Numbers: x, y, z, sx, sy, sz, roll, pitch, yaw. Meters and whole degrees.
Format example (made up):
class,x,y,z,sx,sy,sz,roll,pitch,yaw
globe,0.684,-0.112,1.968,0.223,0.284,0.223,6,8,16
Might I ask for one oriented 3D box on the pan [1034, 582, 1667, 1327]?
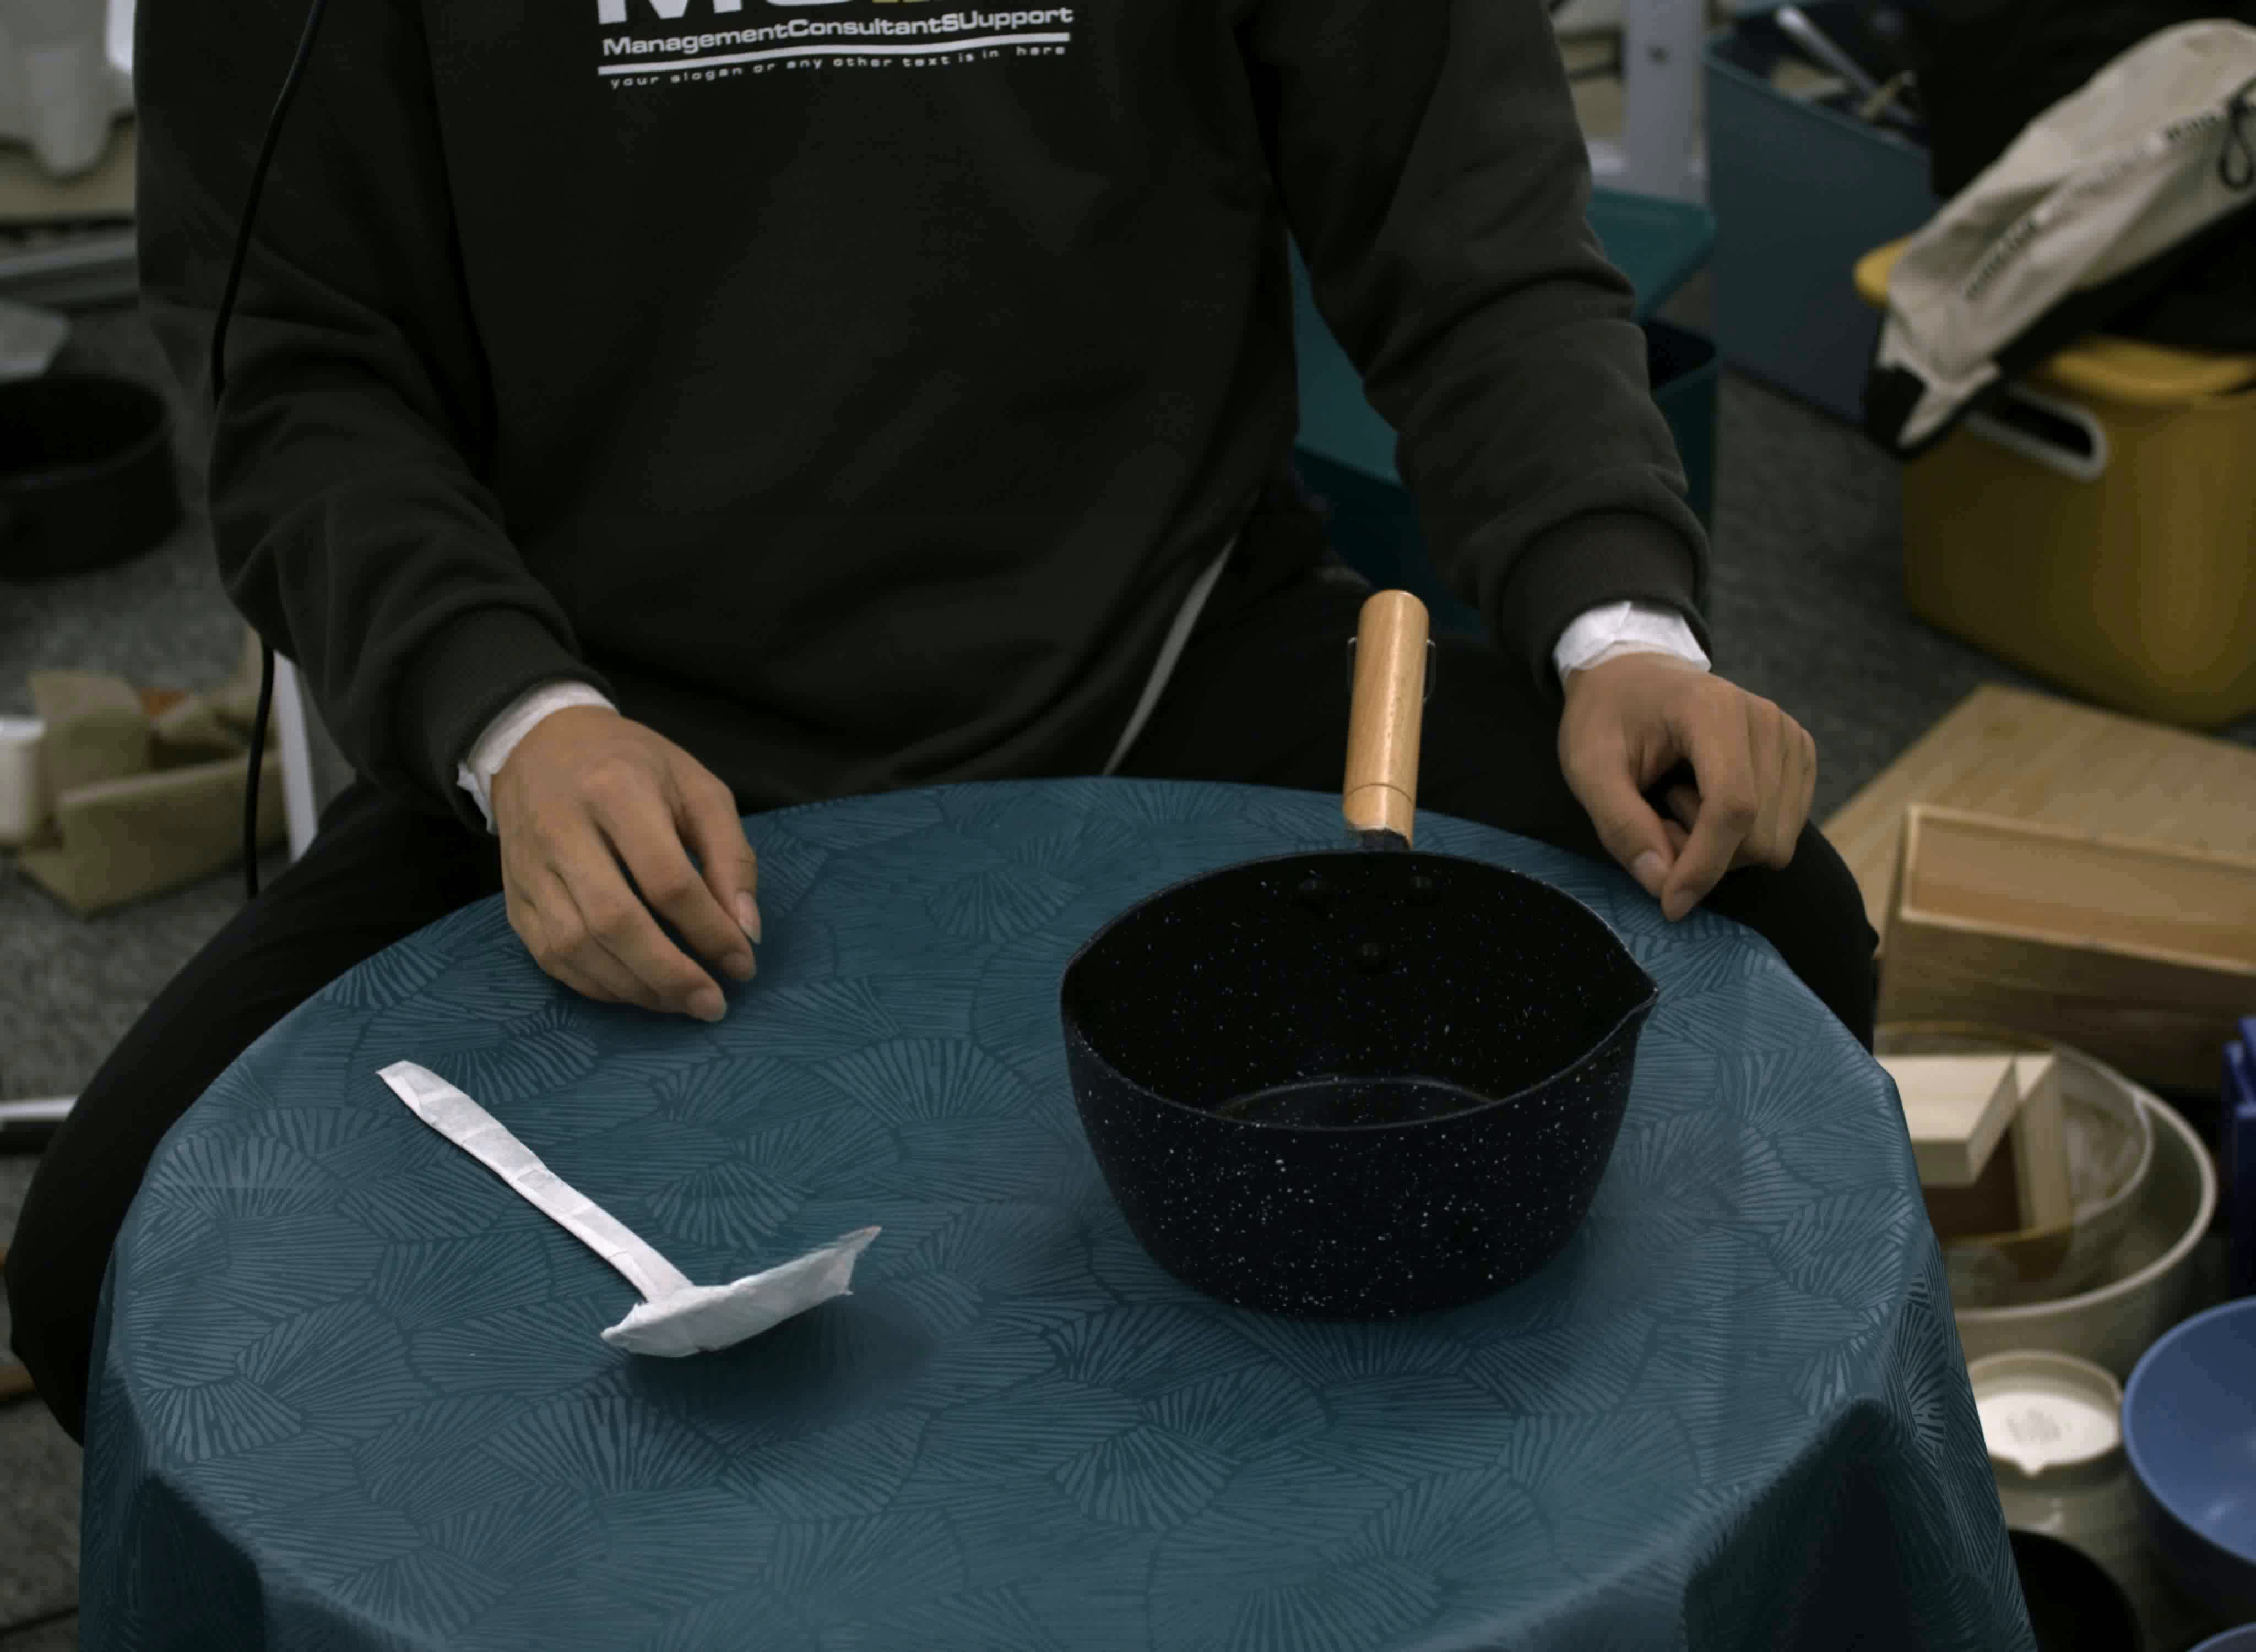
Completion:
class,x,y,z,sx,sy,sz,roll,pitch,yaw
pan,0.079,0.040,1.897,0.206,0.107,0.348,-1,28,6

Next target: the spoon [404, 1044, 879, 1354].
class,x,y,z,sx,sy,sz,roll,pitch,yaw
spoon,-0.172,0.107,1.845,0.101,0.059,0.278,-16,30,-28
